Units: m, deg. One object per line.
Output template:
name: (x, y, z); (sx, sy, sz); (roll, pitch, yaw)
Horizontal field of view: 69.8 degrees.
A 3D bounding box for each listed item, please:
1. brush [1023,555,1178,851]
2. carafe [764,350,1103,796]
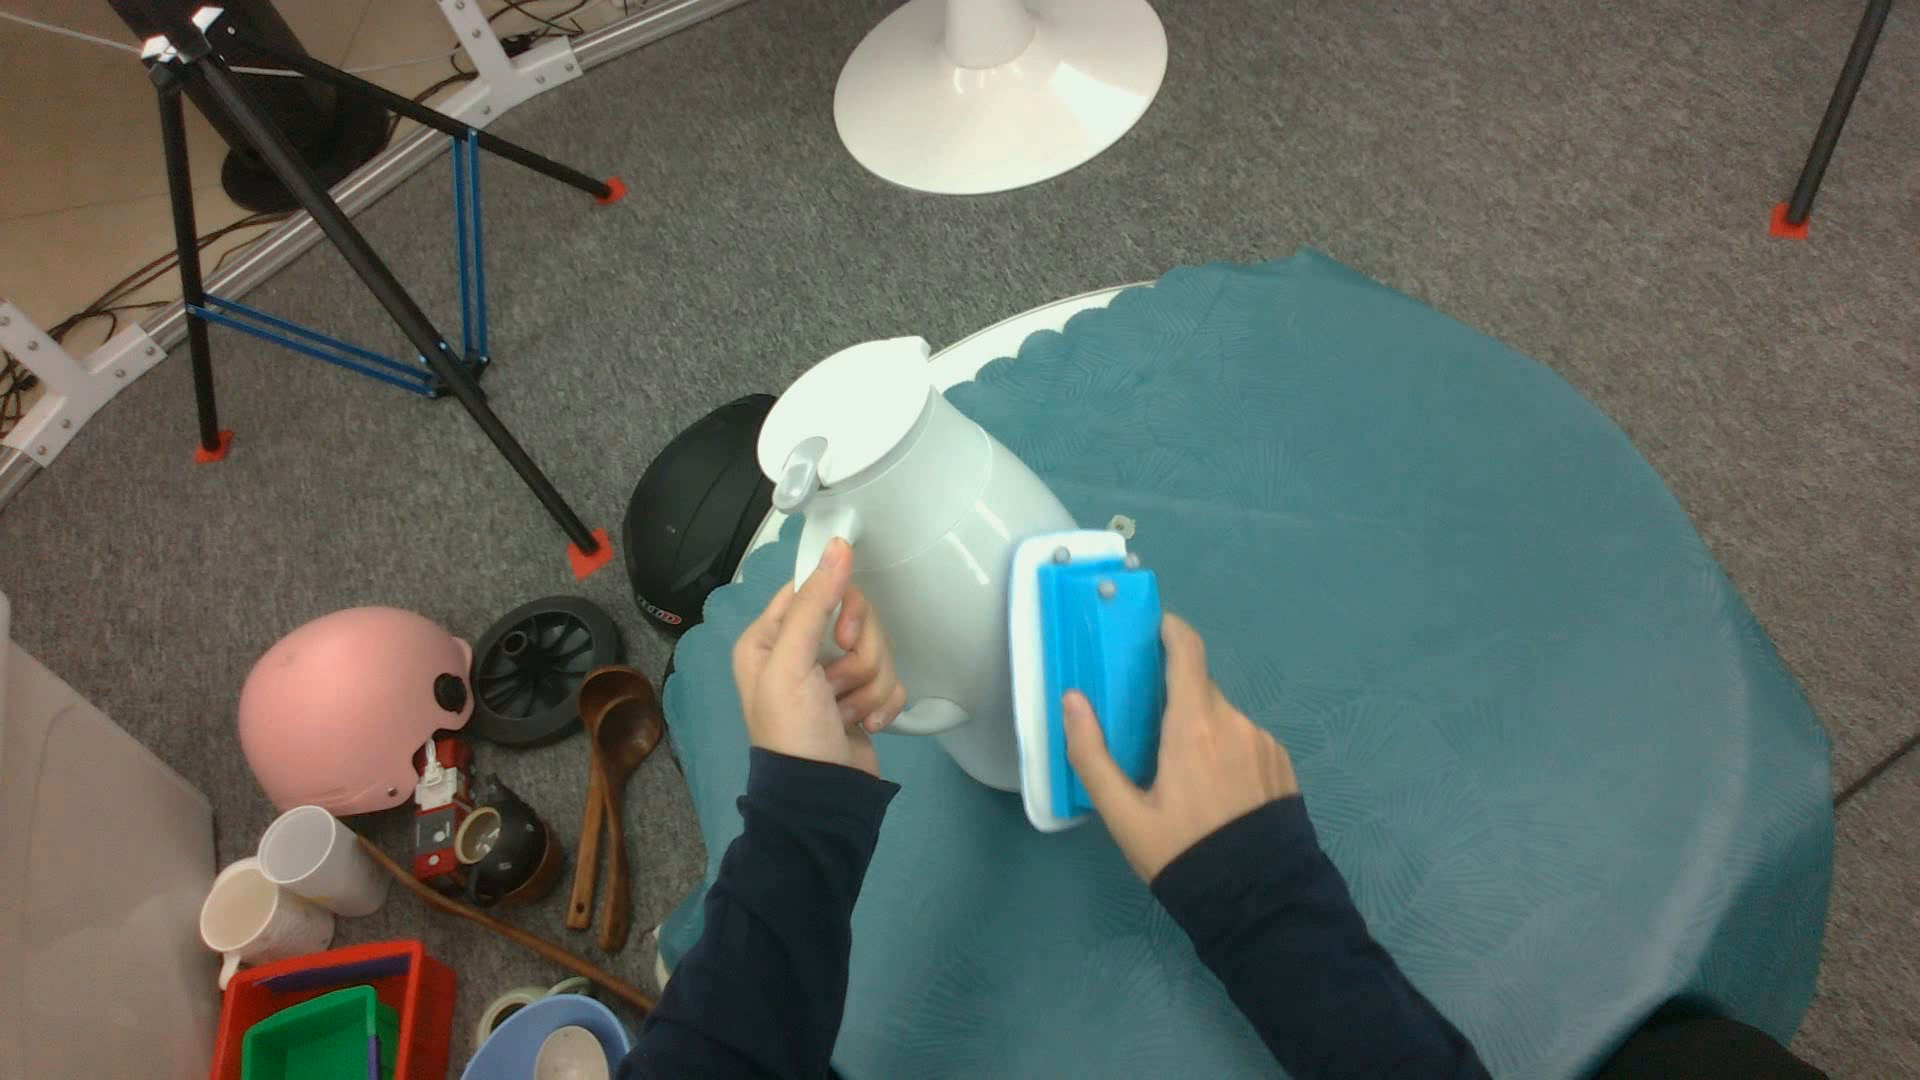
brush: (0.077, 0.079, 0.671); (0.056, 0.084, 0.144); (-5, 89, 54)
carafe: (-0.005, 0.032, 0.711); (0.132, 0.248, 0.168); (-3, 52, 33)
